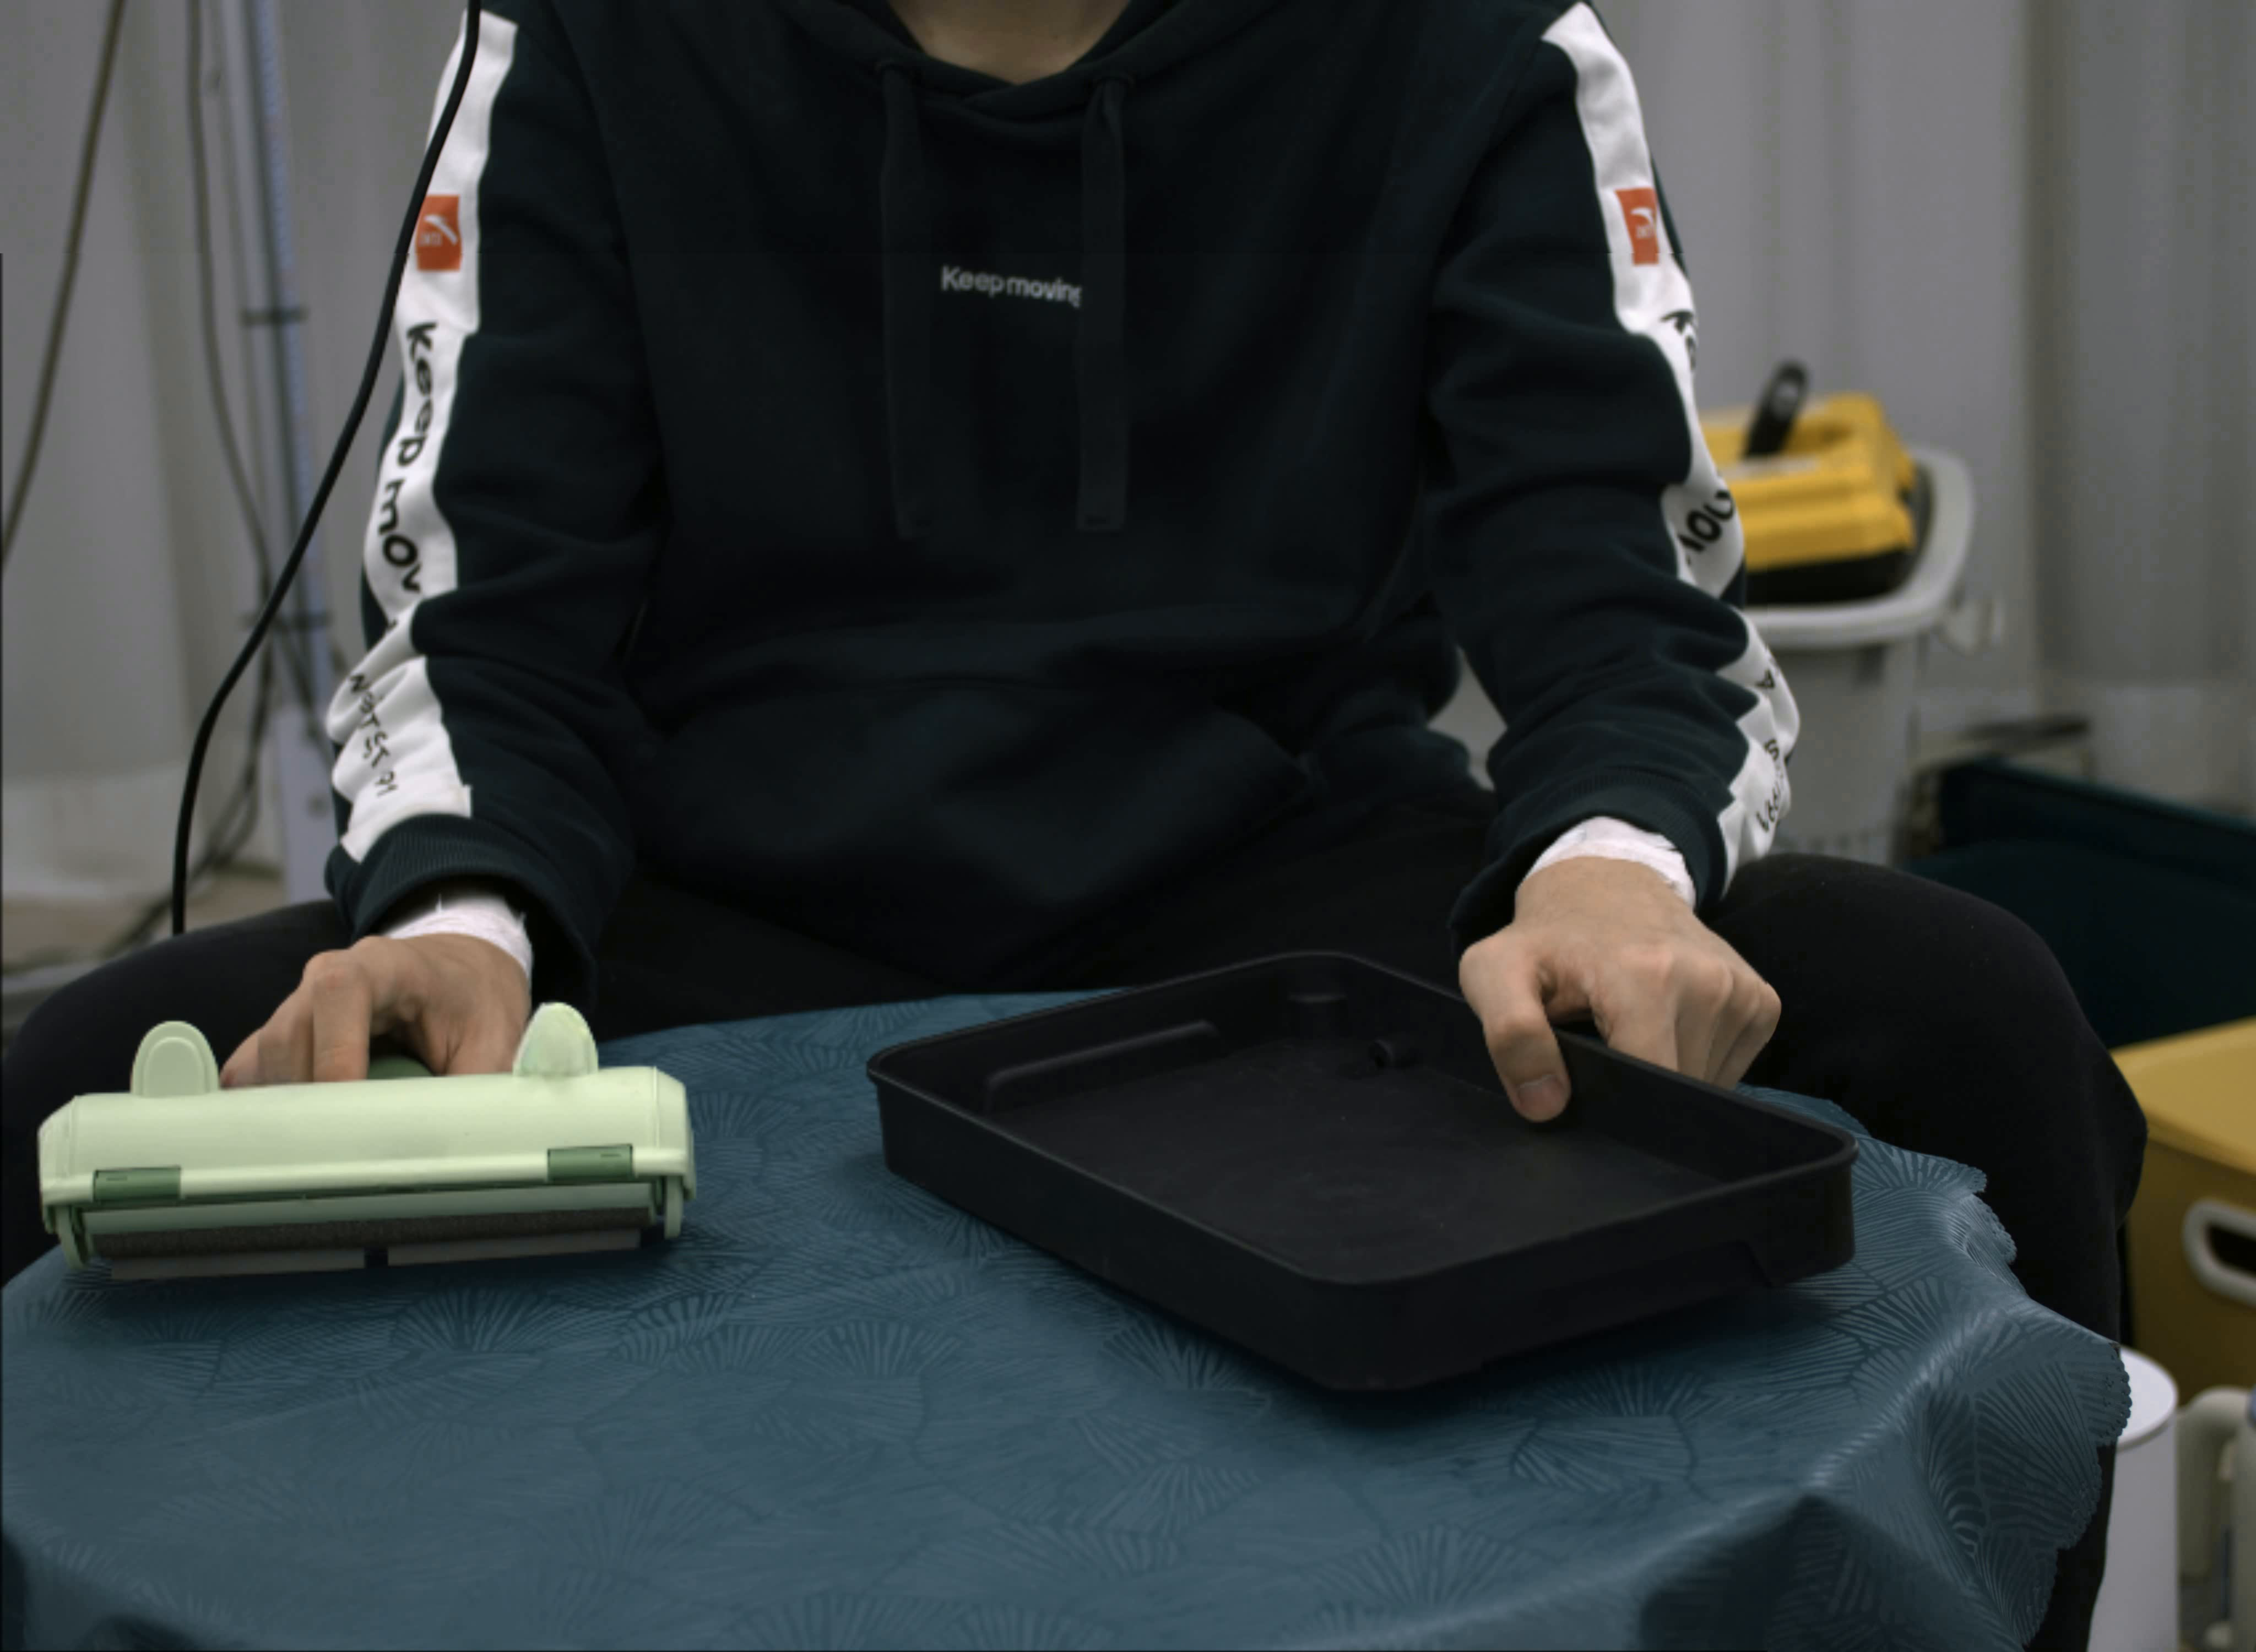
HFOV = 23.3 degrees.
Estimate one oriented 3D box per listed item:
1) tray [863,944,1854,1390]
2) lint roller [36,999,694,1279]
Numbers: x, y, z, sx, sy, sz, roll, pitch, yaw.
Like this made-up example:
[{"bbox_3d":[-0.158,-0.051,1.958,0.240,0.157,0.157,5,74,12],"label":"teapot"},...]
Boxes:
[{"bbox_3d":[0.063,0.098,1.662,0.183,0.037,0.320,-12,15,-26],"label":"tray"},{"bbox_3d":[-0.237,0.082,1.725,0.198,0.082,0.185,-3,17,-4],"label":"lint roller"}]
